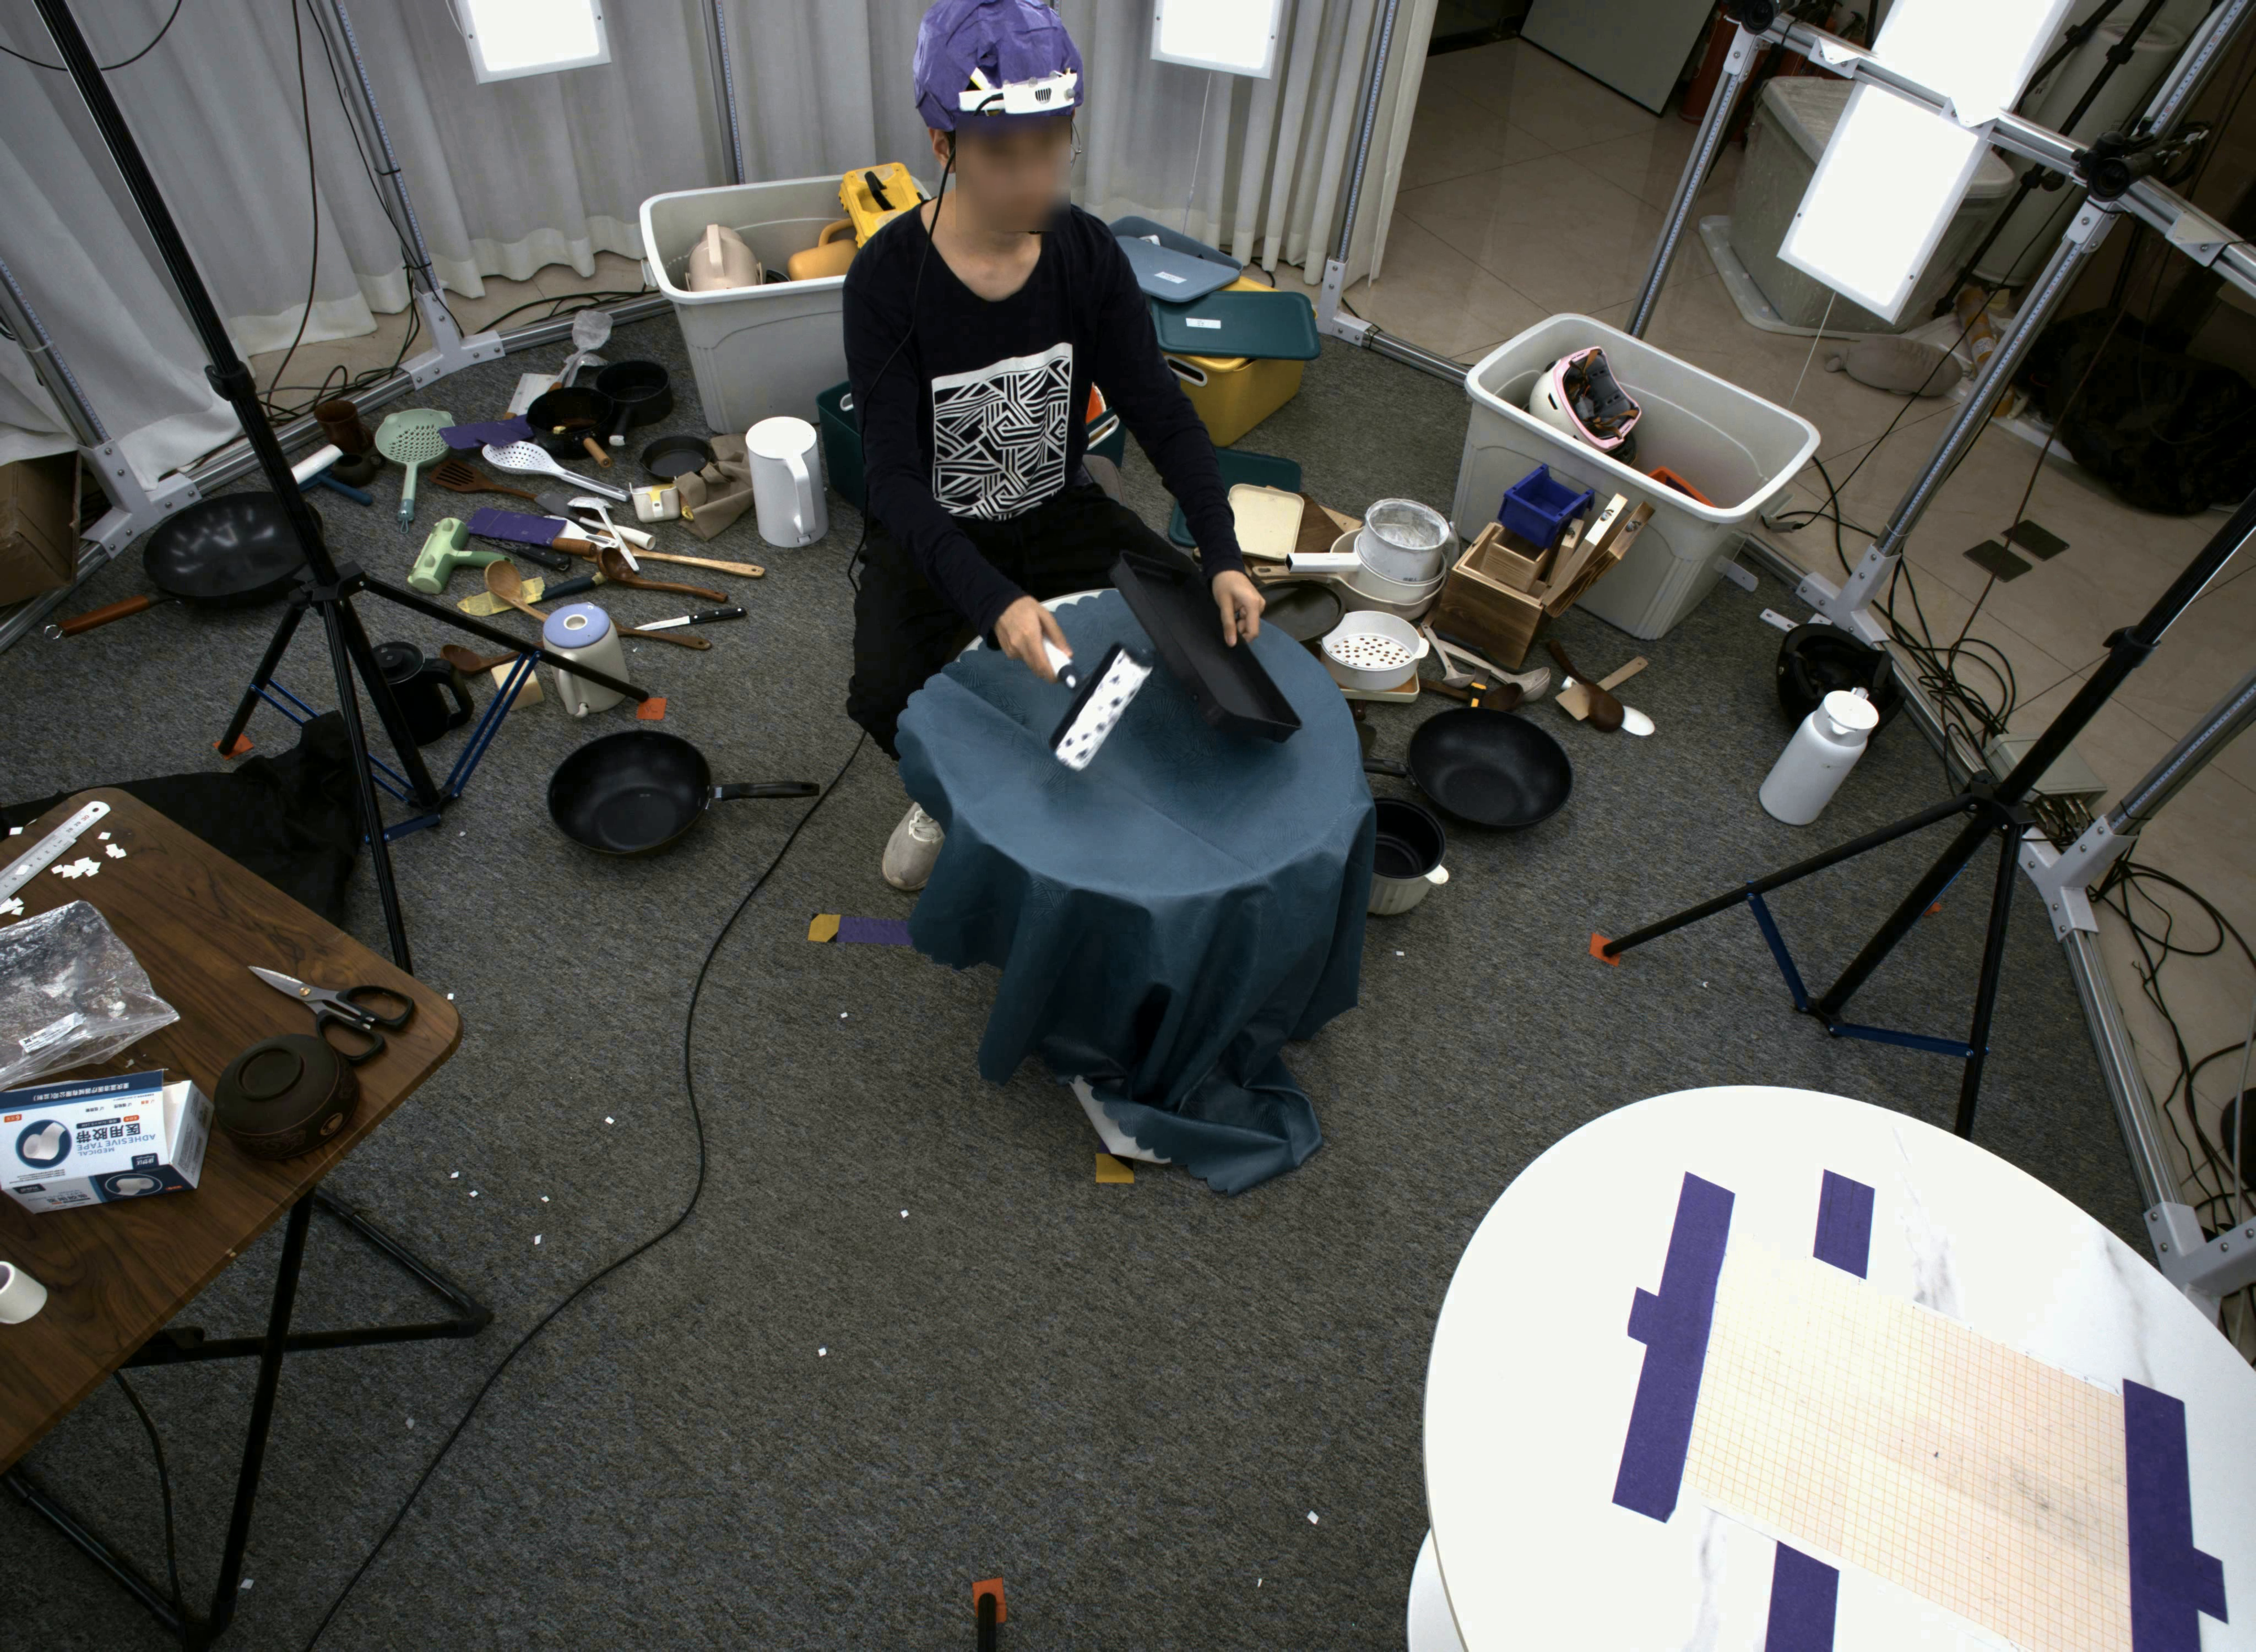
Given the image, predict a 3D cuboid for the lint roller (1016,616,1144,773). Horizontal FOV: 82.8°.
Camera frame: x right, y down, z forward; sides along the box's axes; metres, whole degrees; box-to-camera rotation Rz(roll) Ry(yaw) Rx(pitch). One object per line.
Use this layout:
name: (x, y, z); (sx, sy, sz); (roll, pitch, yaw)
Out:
lint roller: (-0.092, -0.208, 1.718); (0.050, 0.174, 0.252); (12, 29, -47)

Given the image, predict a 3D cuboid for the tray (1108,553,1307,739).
tray: (0.107, -0.248, 1.766); (0.183, 0.036, 0.324); (5, 43, -46)
